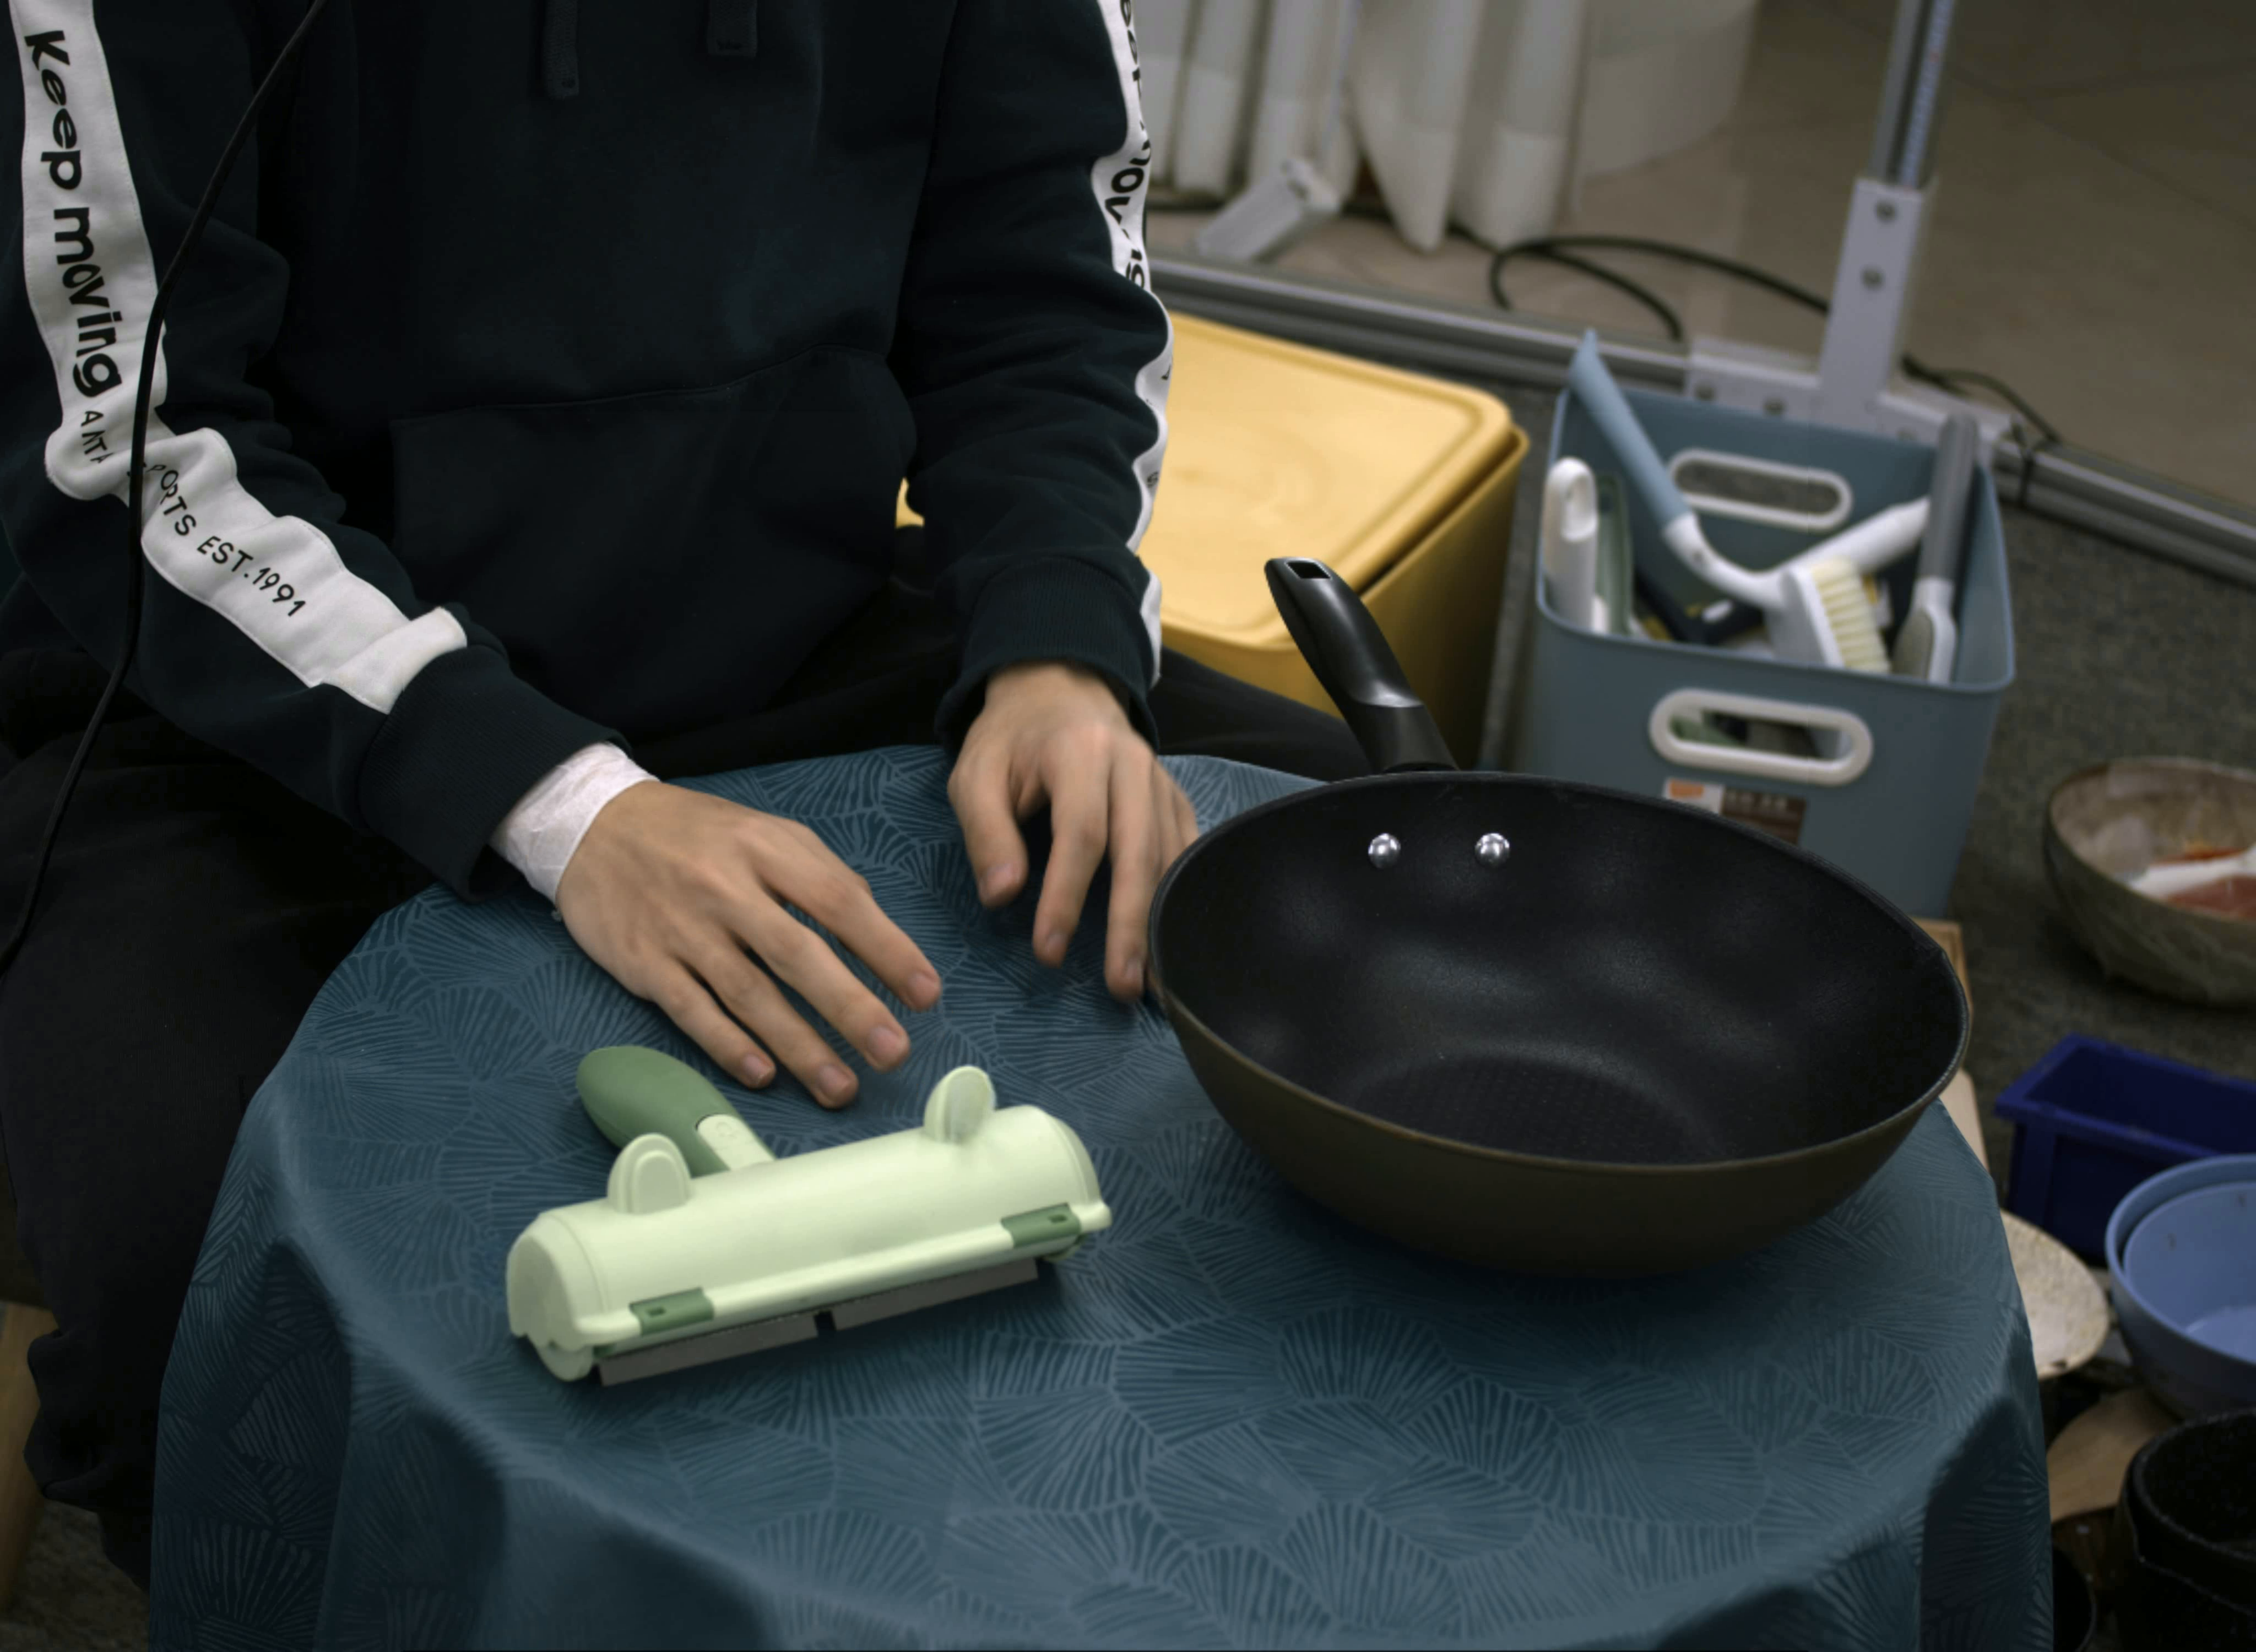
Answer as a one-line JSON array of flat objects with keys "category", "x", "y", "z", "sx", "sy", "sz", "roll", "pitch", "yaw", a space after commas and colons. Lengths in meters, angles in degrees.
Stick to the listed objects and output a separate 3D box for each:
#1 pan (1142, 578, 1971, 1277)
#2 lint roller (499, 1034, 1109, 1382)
[{"category": "pan", "x": 0.118, "y": 0.038, "z": 1.903, "sx": 0.286, "sy": 0.086, "sz": 0.467, "roll": -2, "pitch": 27, "yaw": -16}, {"category": "lint roller", "x": -0.131, "y": 0.098, "z": 1.736, "sx": 0.197, "sy": 0.082, "sz": 0.185, "roll": -11, "pitch": 37, "yaw": -30}]
